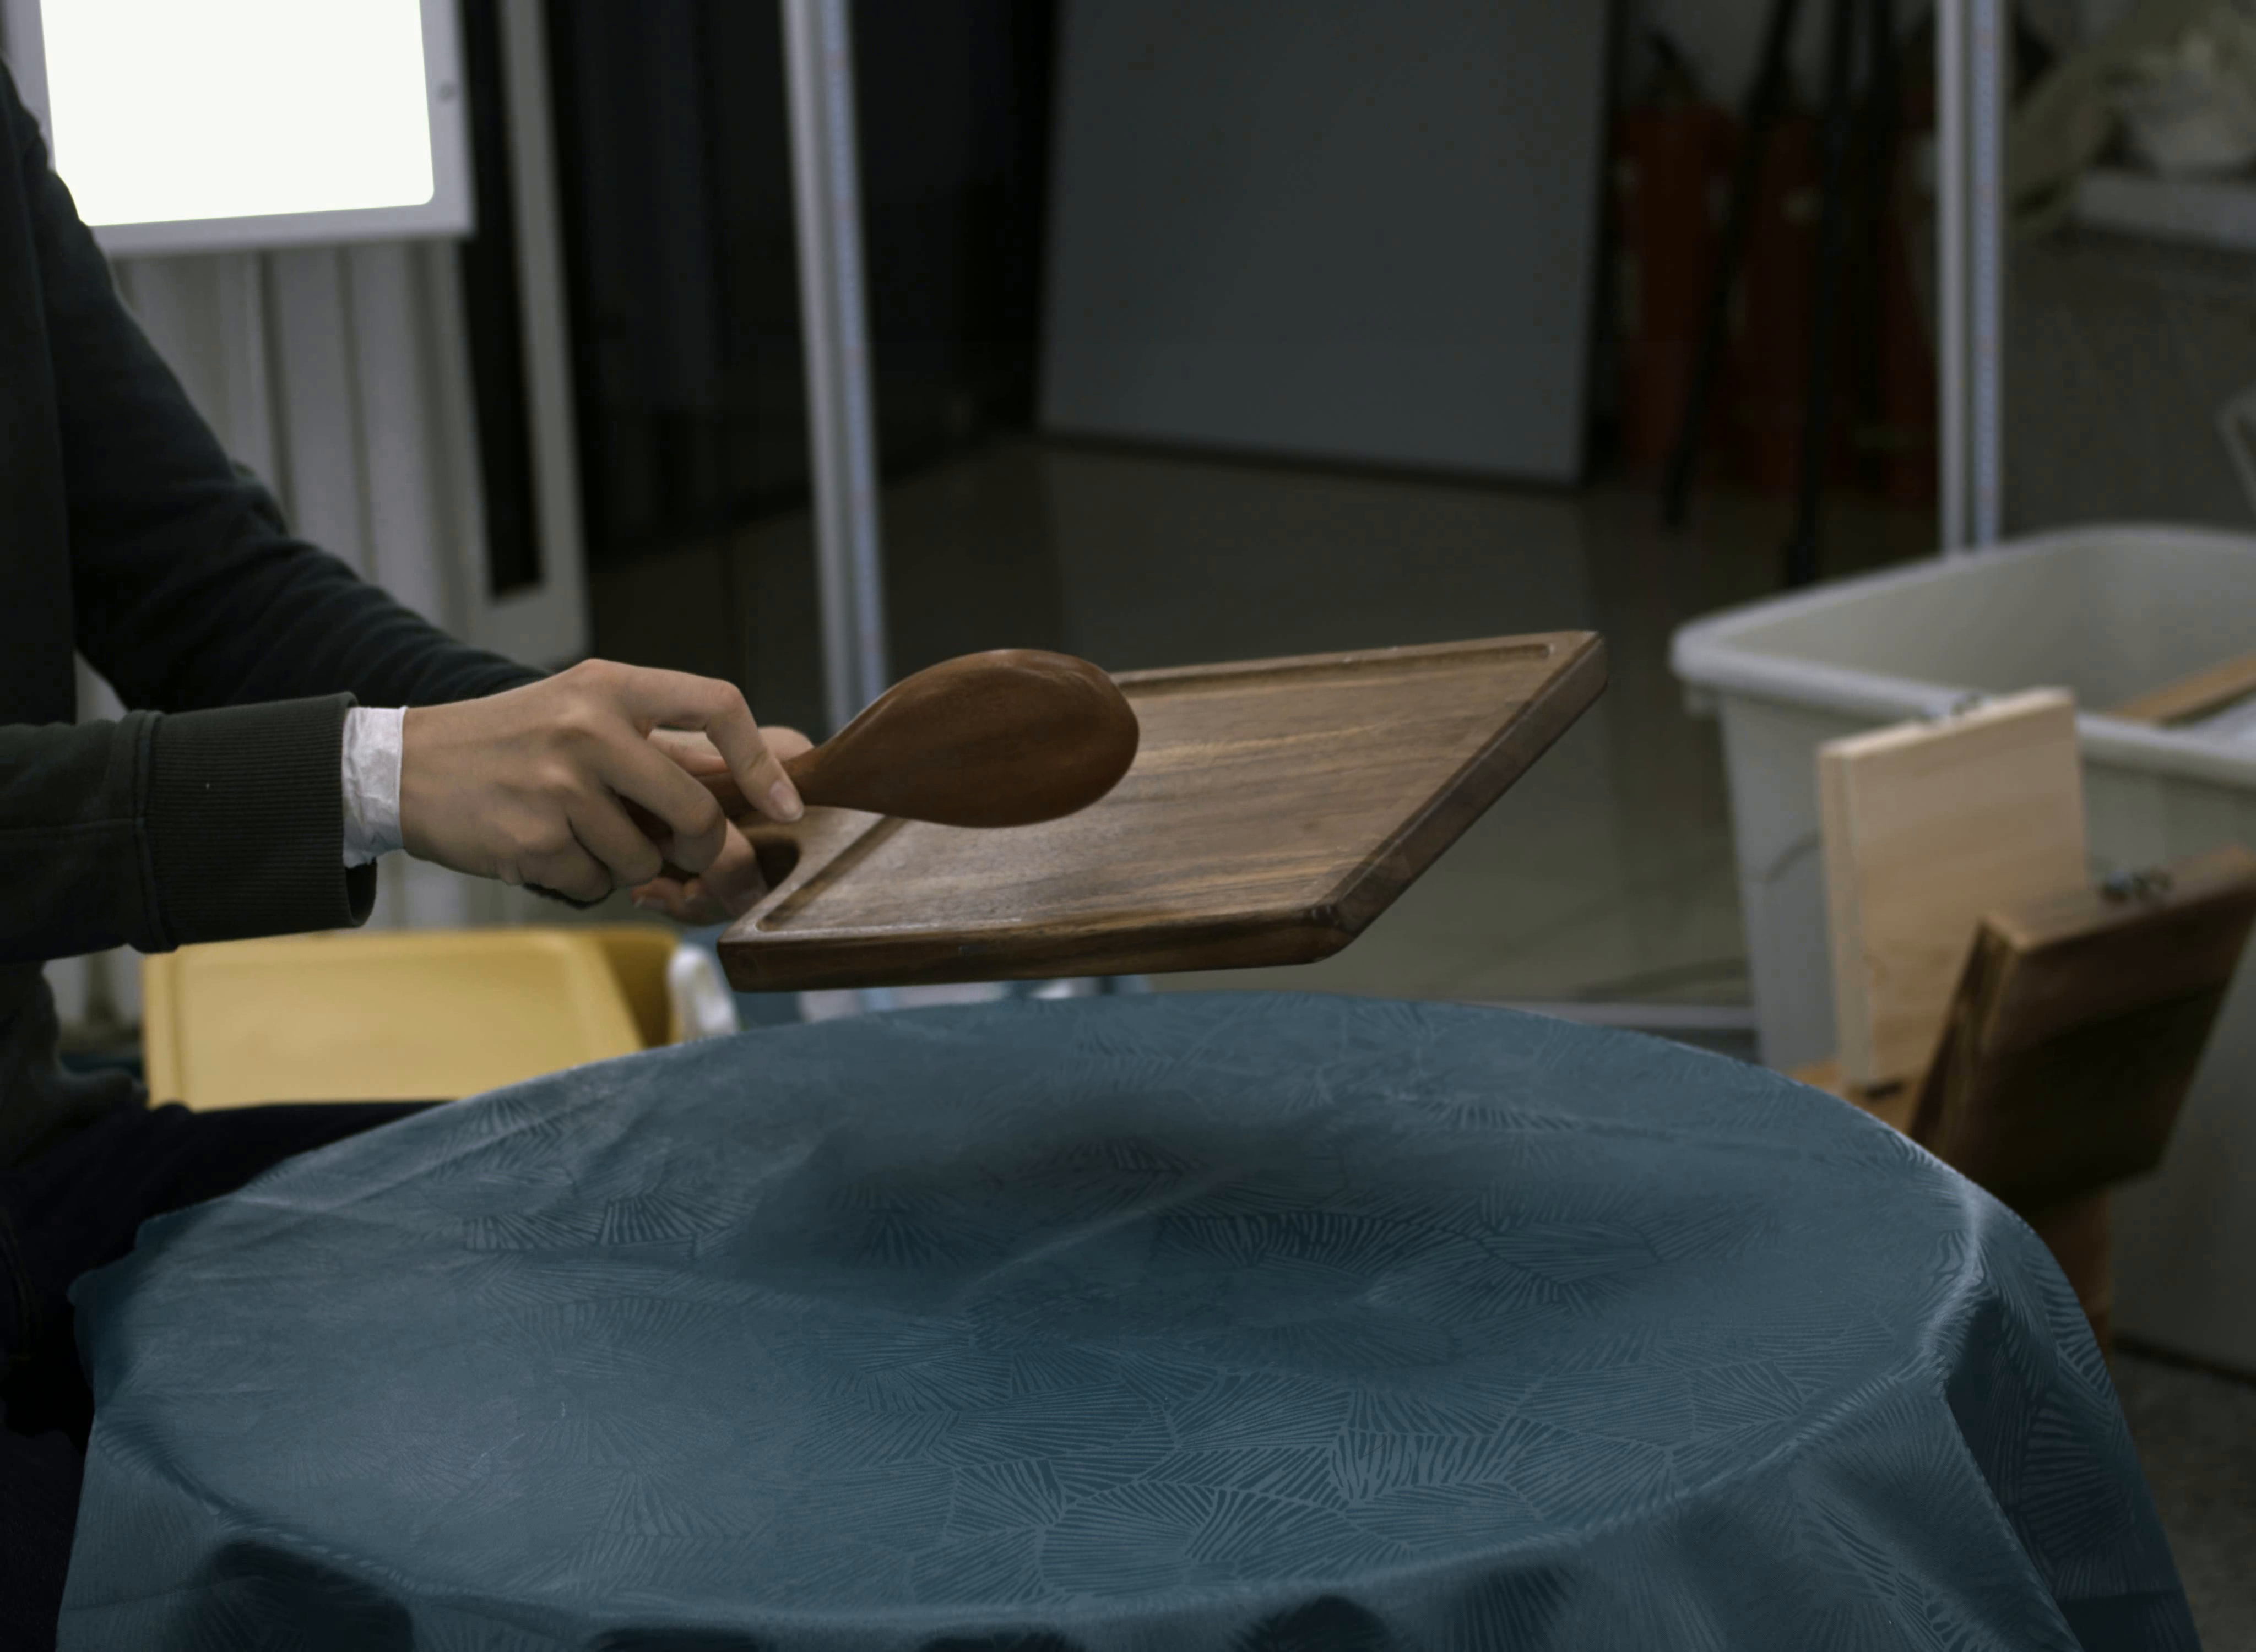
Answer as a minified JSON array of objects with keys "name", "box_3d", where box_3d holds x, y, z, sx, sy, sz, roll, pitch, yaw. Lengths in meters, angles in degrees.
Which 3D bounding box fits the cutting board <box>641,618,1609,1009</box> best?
[{"name":"cutting board","box_3d":[-0.026,0.000,1.793,0.354,0.023,0.199,-6,26,39]}]

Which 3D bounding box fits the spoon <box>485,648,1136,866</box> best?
[{"name":"spoon","box_3d":[-0.101,-0.015,1.713,0.214,0.075,0.017,-10,48,12]}]
